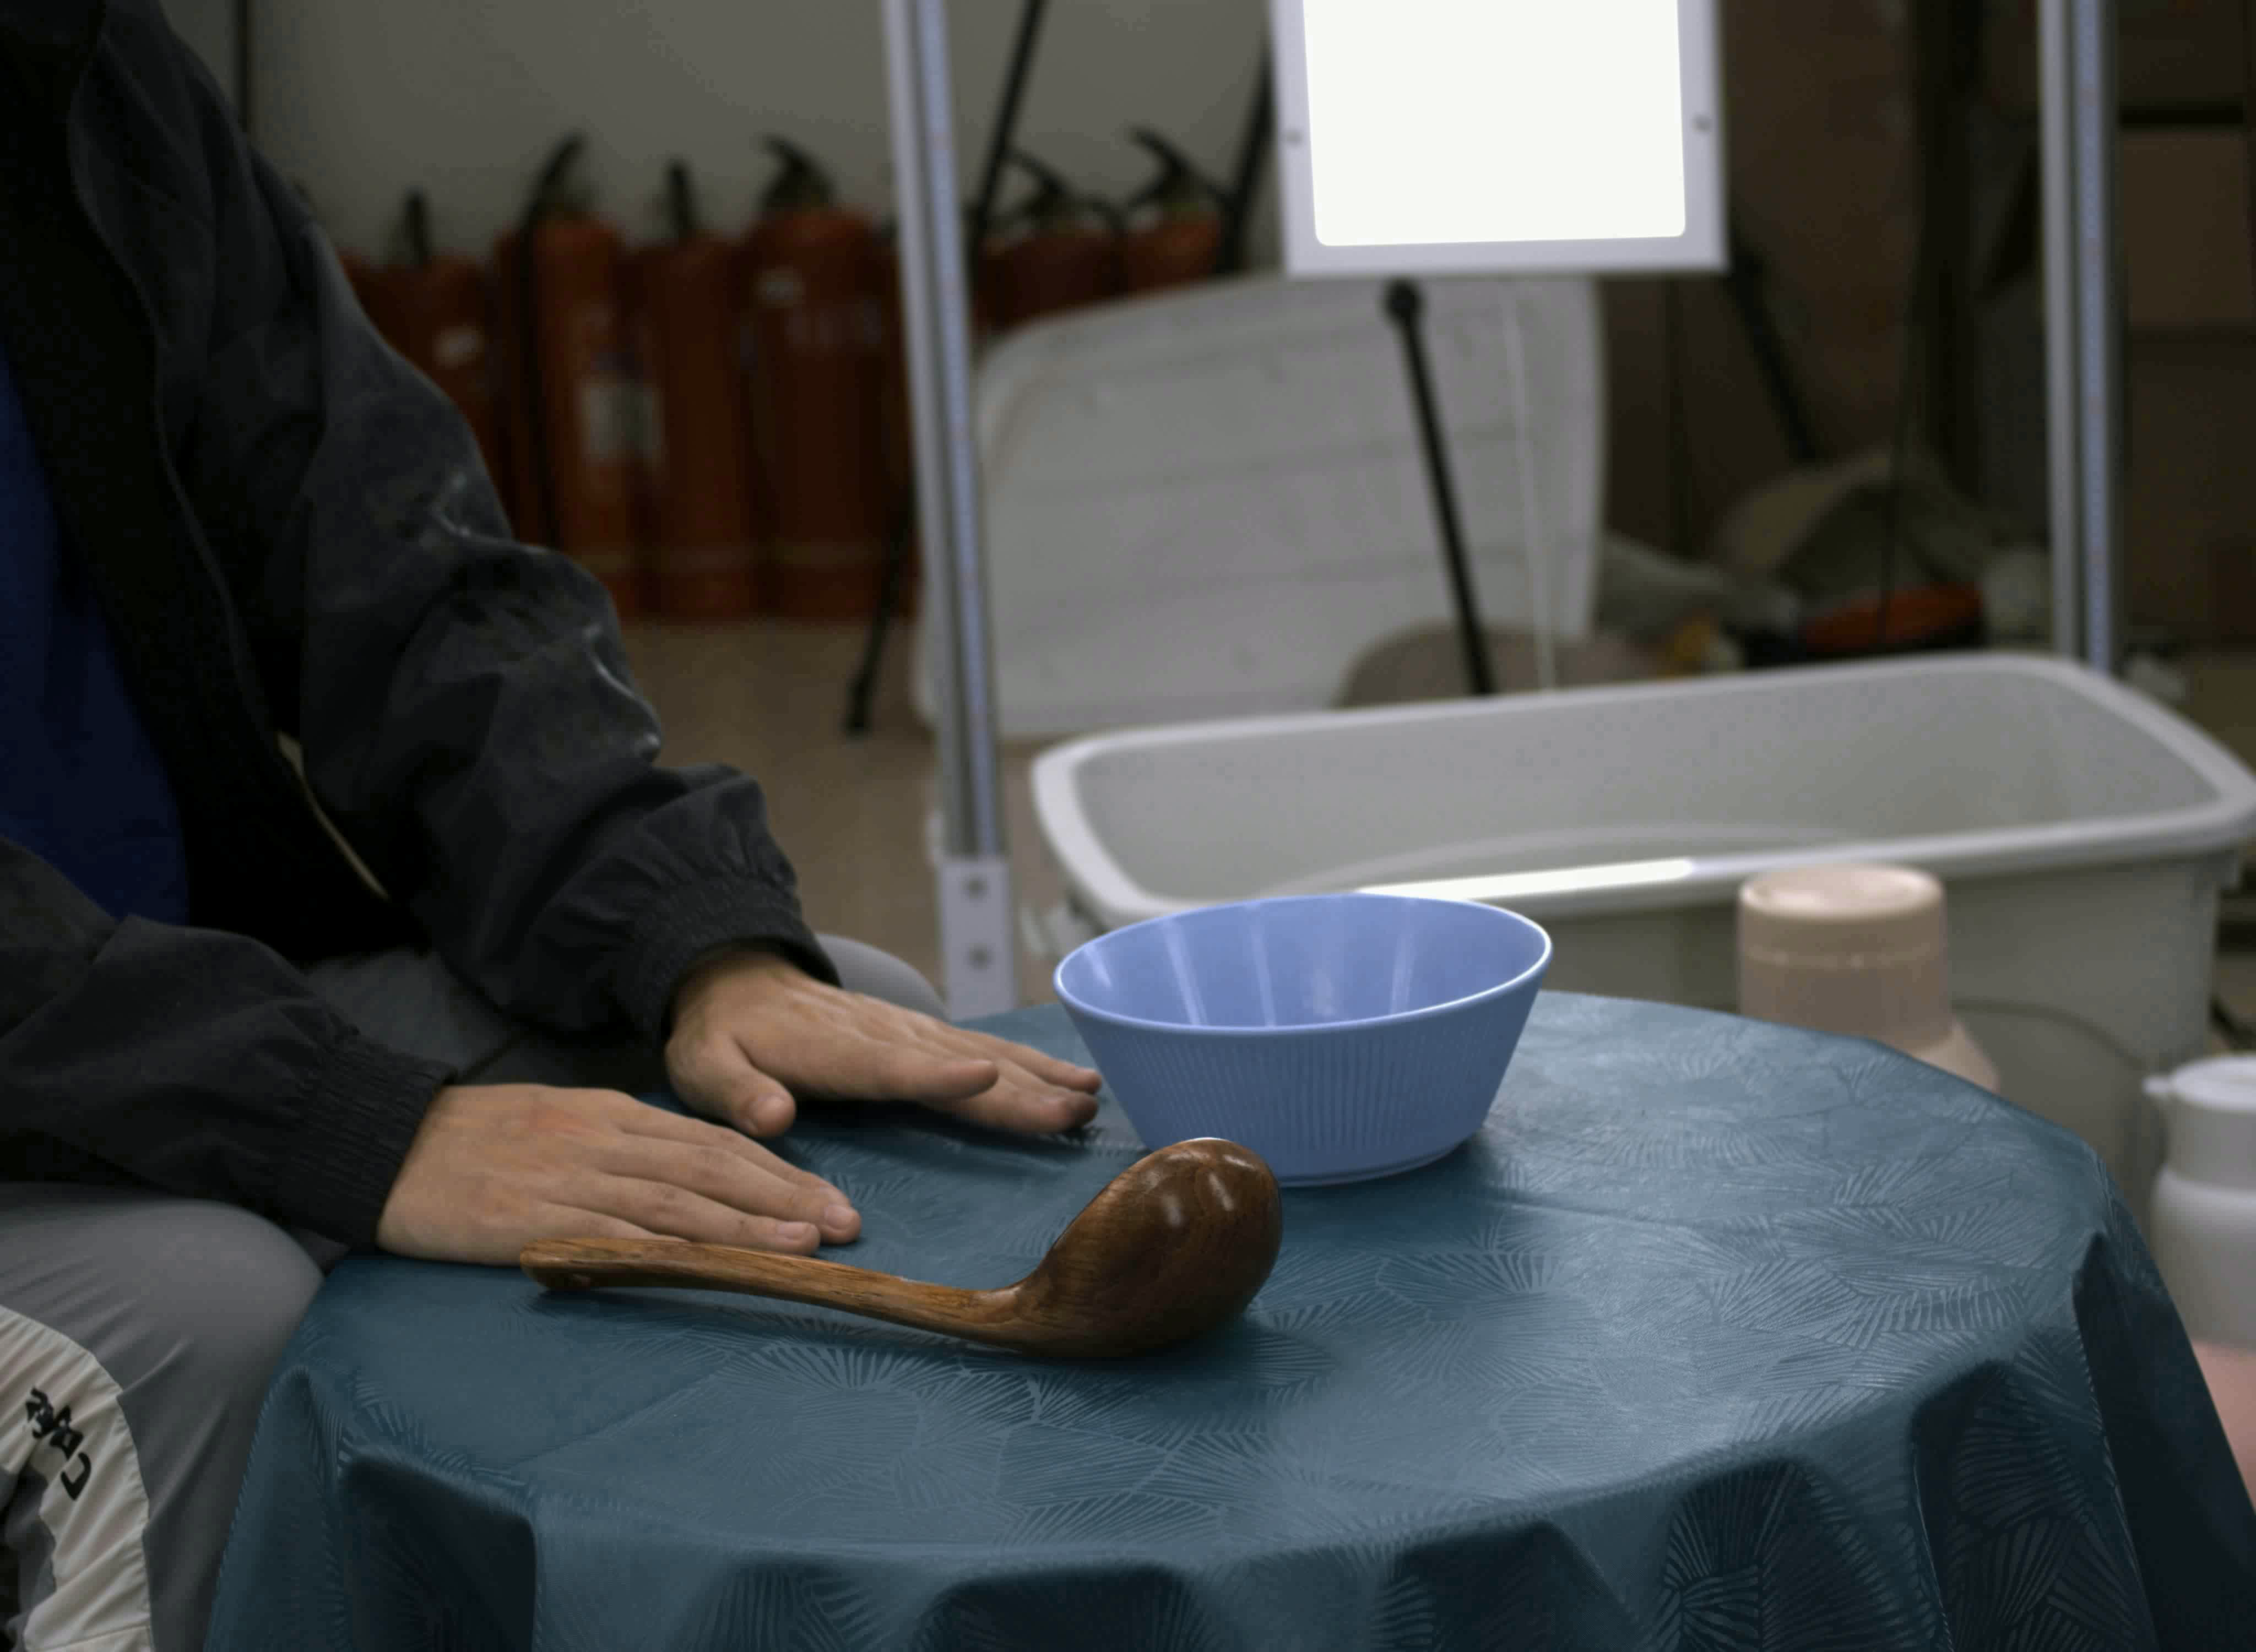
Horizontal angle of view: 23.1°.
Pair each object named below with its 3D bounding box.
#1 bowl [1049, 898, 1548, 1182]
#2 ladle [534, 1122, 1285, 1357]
[{"bbox_3d":[0.062,0.077,1.929,0.175,0.070,0.176,-5,13,0],"label":"bowl"},{"bbox_3d":[-0.075,0.126,1.781,0.280,0.081,0.076,3,60,37],"label":"ladle"}]
